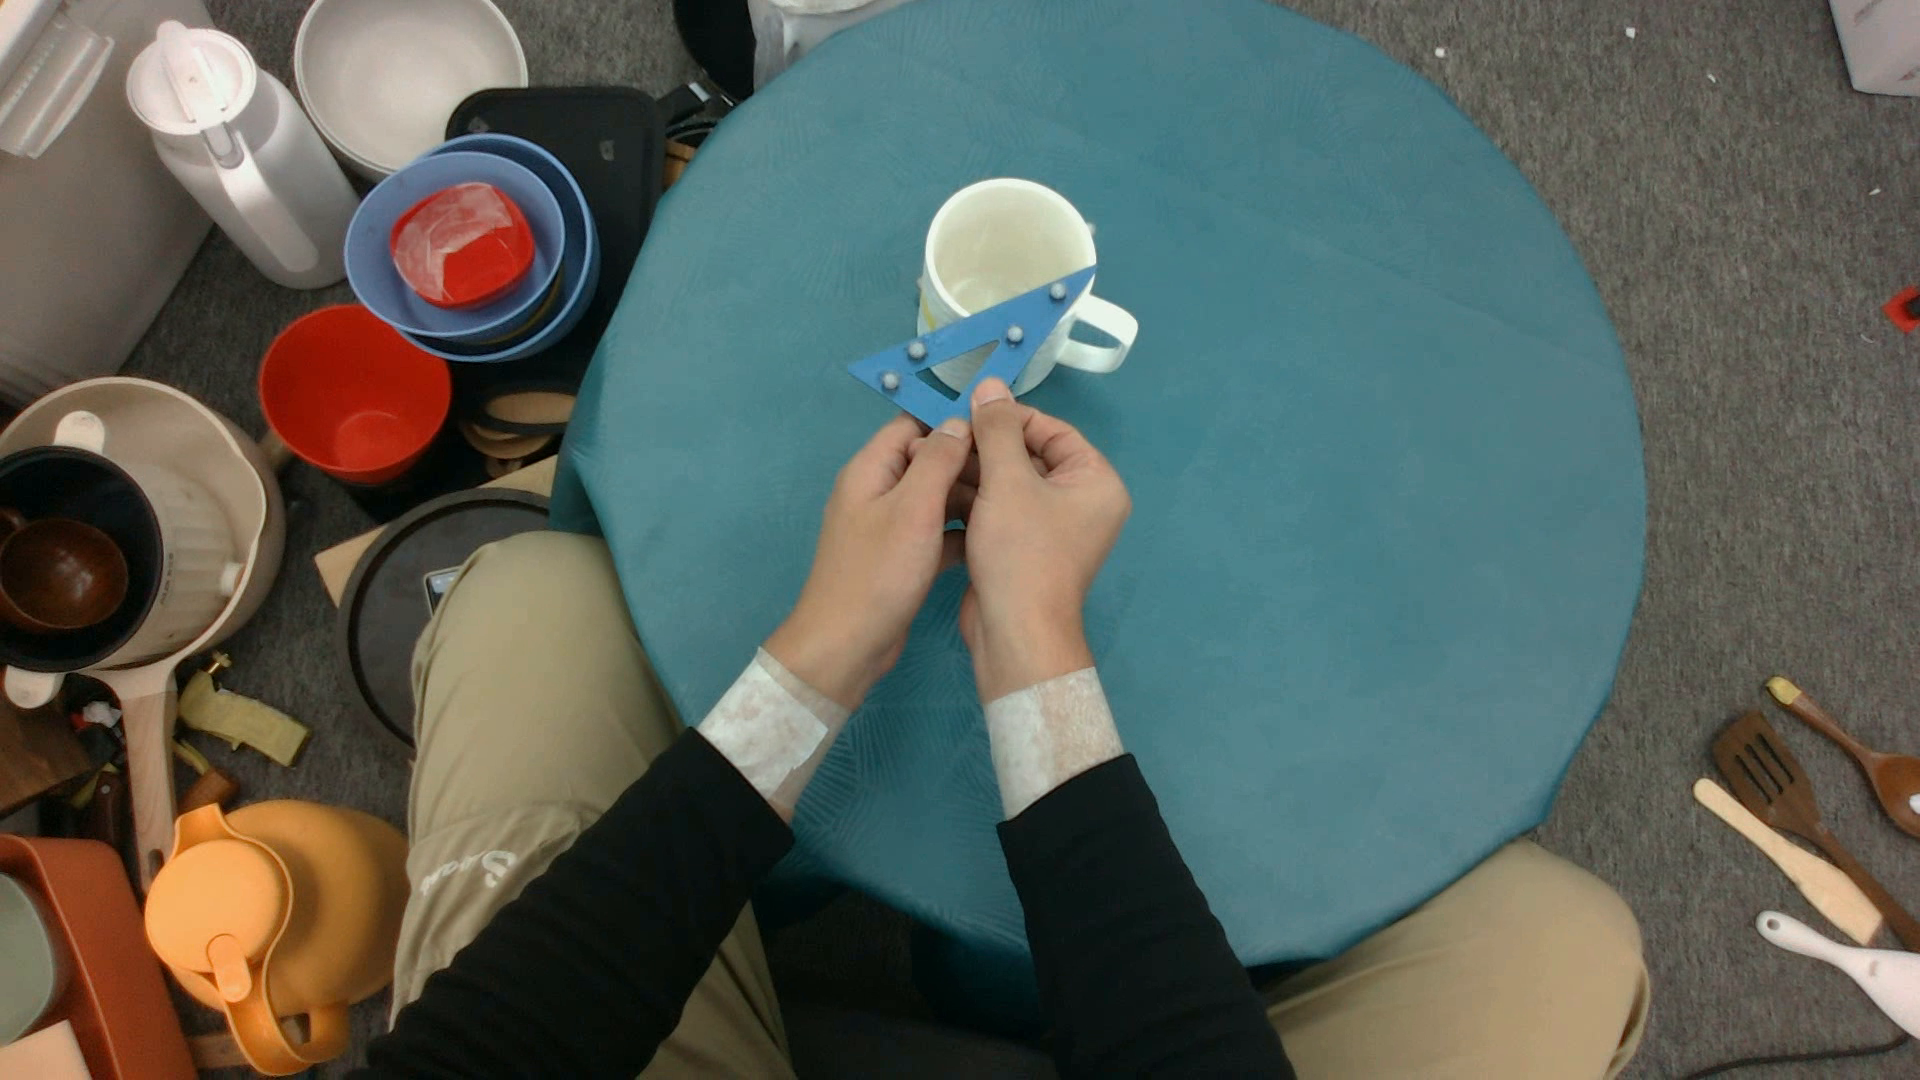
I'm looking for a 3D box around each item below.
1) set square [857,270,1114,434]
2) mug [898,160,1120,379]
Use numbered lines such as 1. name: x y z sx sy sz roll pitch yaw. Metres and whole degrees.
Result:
1. set square: 0.021 -0.090 0.669 0.132 0.006 0.061 -19 79 -9
2. mug: 0.026 -0.133 0.734 0.118 0.101 0.085 24 74 1
